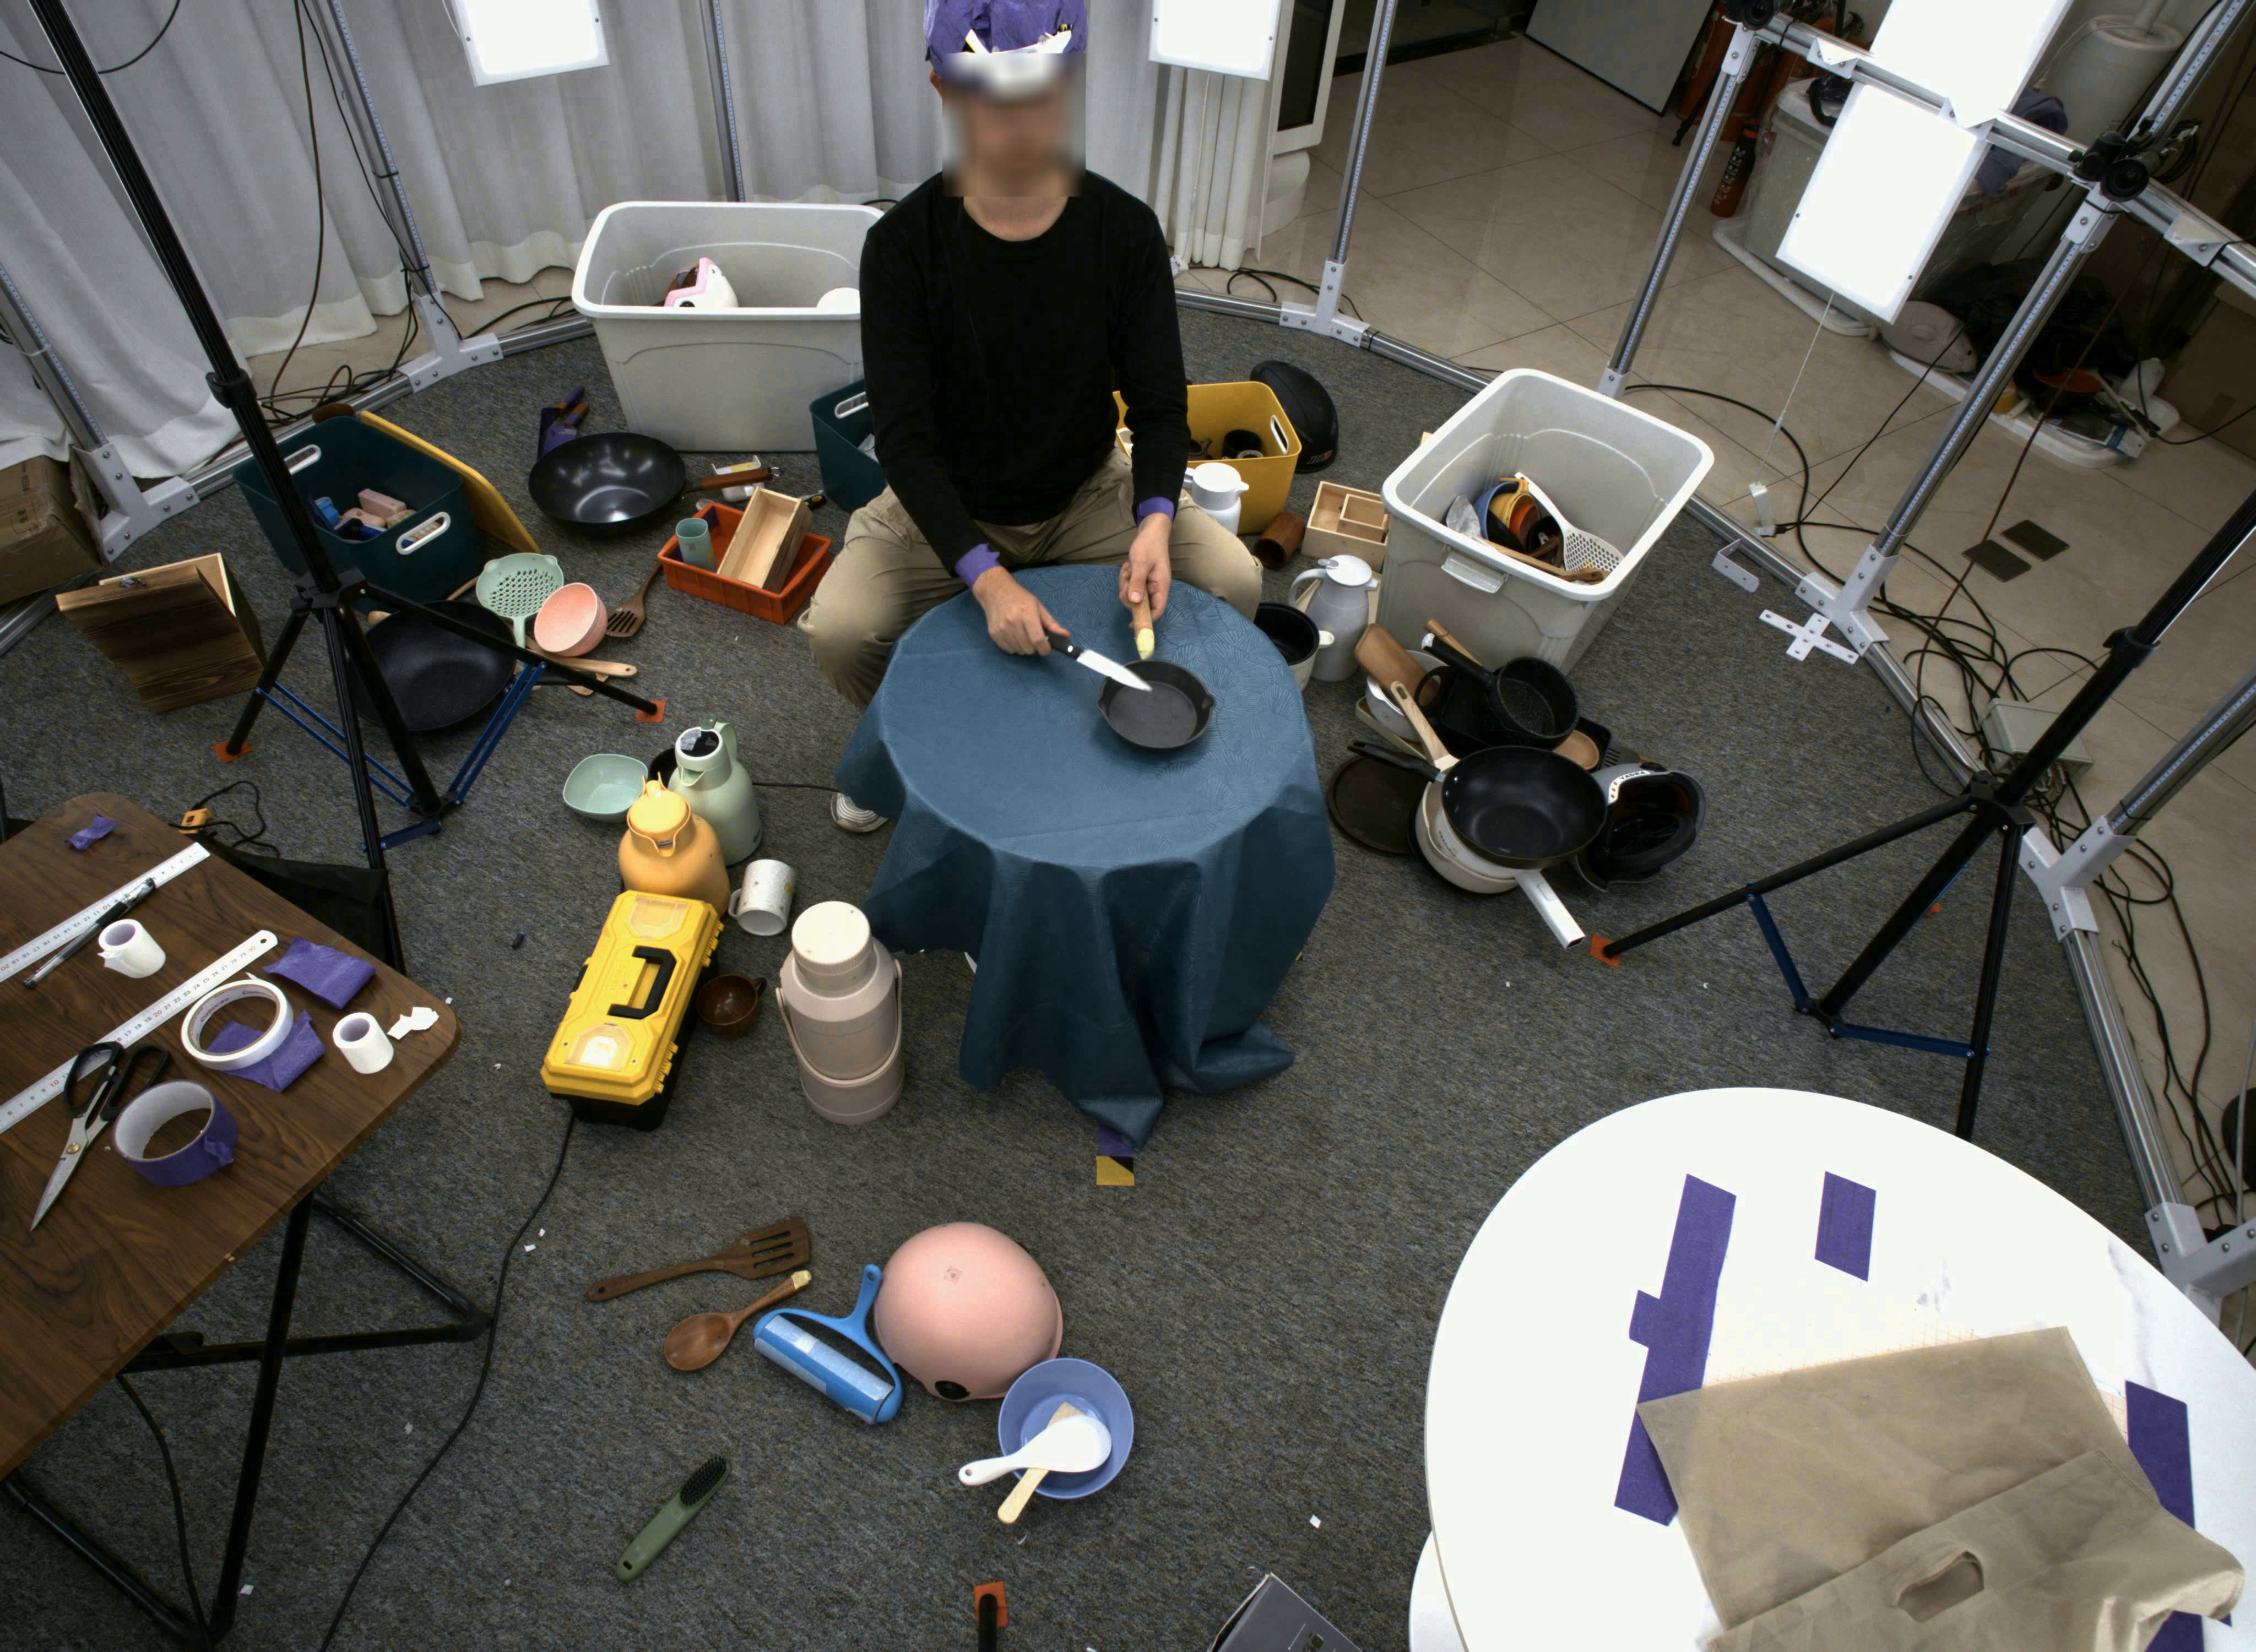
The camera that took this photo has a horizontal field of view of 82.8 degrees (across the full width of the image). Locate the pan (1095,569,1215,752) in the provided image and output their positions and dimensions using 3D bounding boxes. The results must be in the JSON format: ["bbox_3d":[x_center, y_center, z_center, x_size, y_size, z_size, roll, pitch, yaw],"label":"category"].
[{"bbox_3d":[0.030,-0.237,1.827,0.168,0.048,0.332,0,54,-8],"label":"pan"}]

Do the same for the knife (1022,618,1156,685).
[{"bbox_3d":[-0.059,-0.243,1.810,0.241,0.016,0.024,28,77,27],"label":"knife"}]
